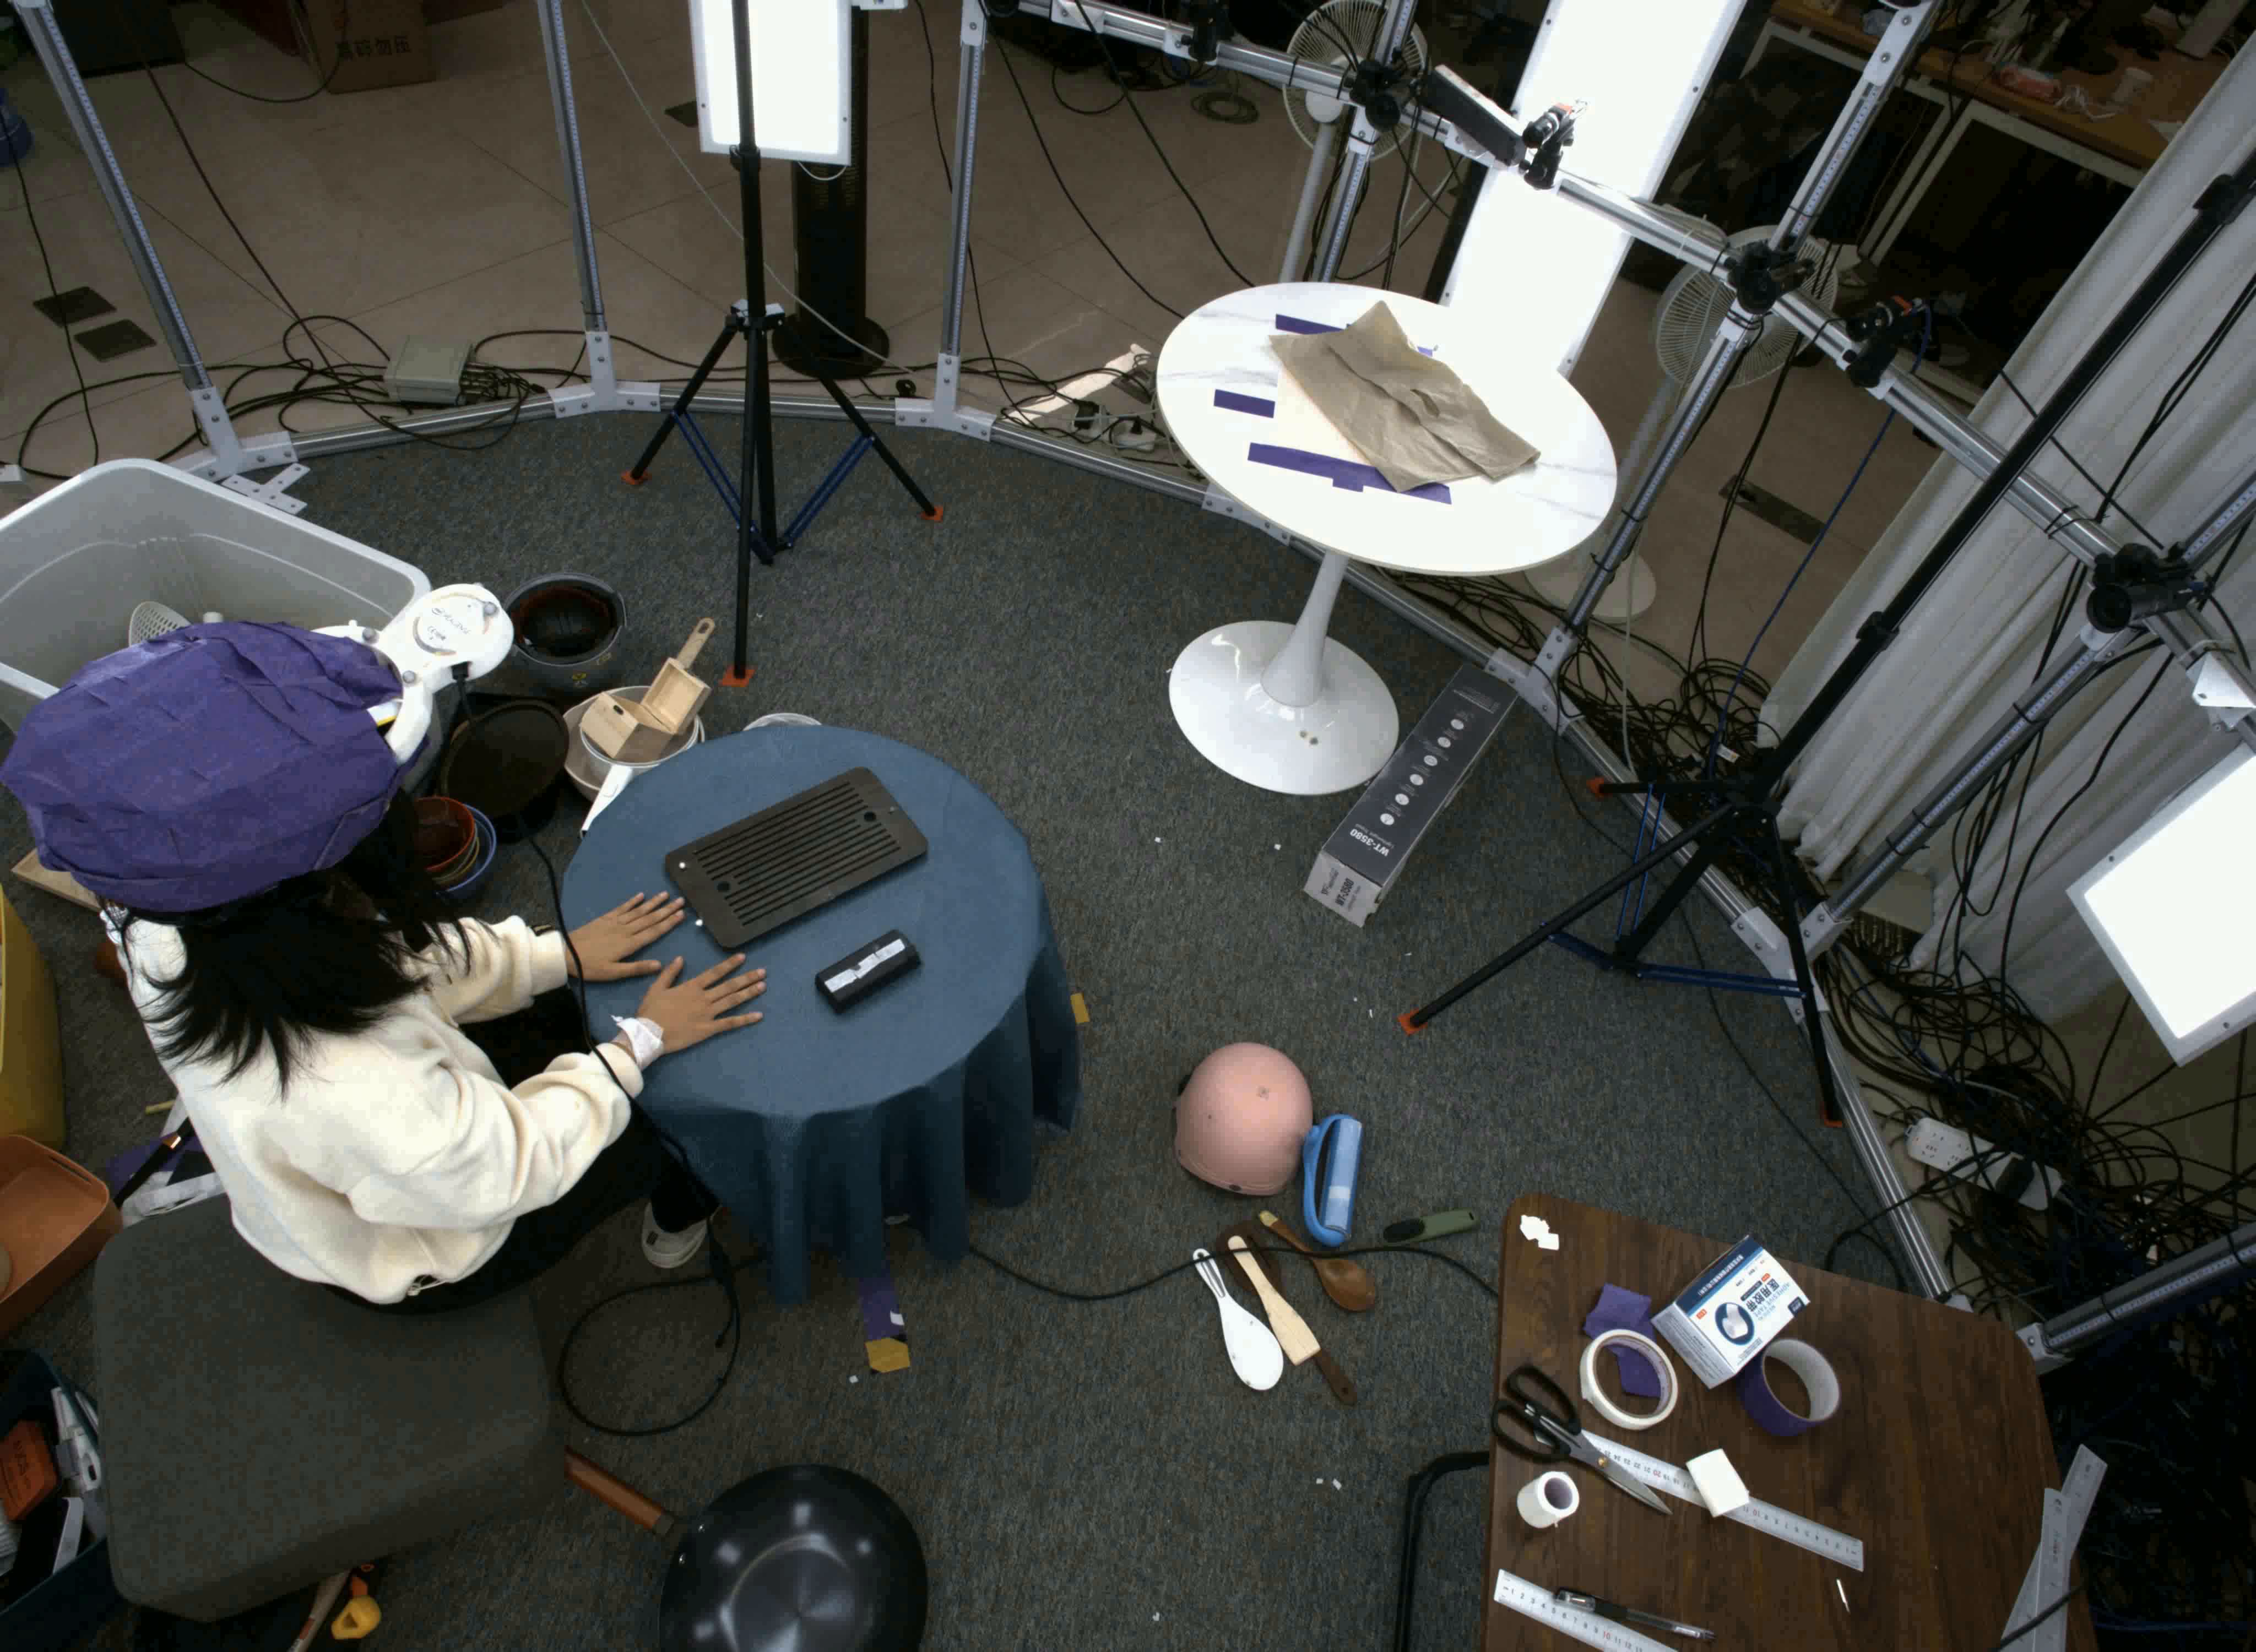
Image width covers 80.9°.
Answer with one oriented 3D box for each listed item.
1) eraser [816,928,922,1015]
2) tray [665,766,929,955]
[{"bbox_3d":[-0.318,0.175,1.599,0.126,0.031,0.052,-33,64,-30],"label":"eraser"},{"bbox_3d":[-0.425,0.039,1.678,0.307,0.019,0.166,-29,66,-31],"label":"tray"}]
